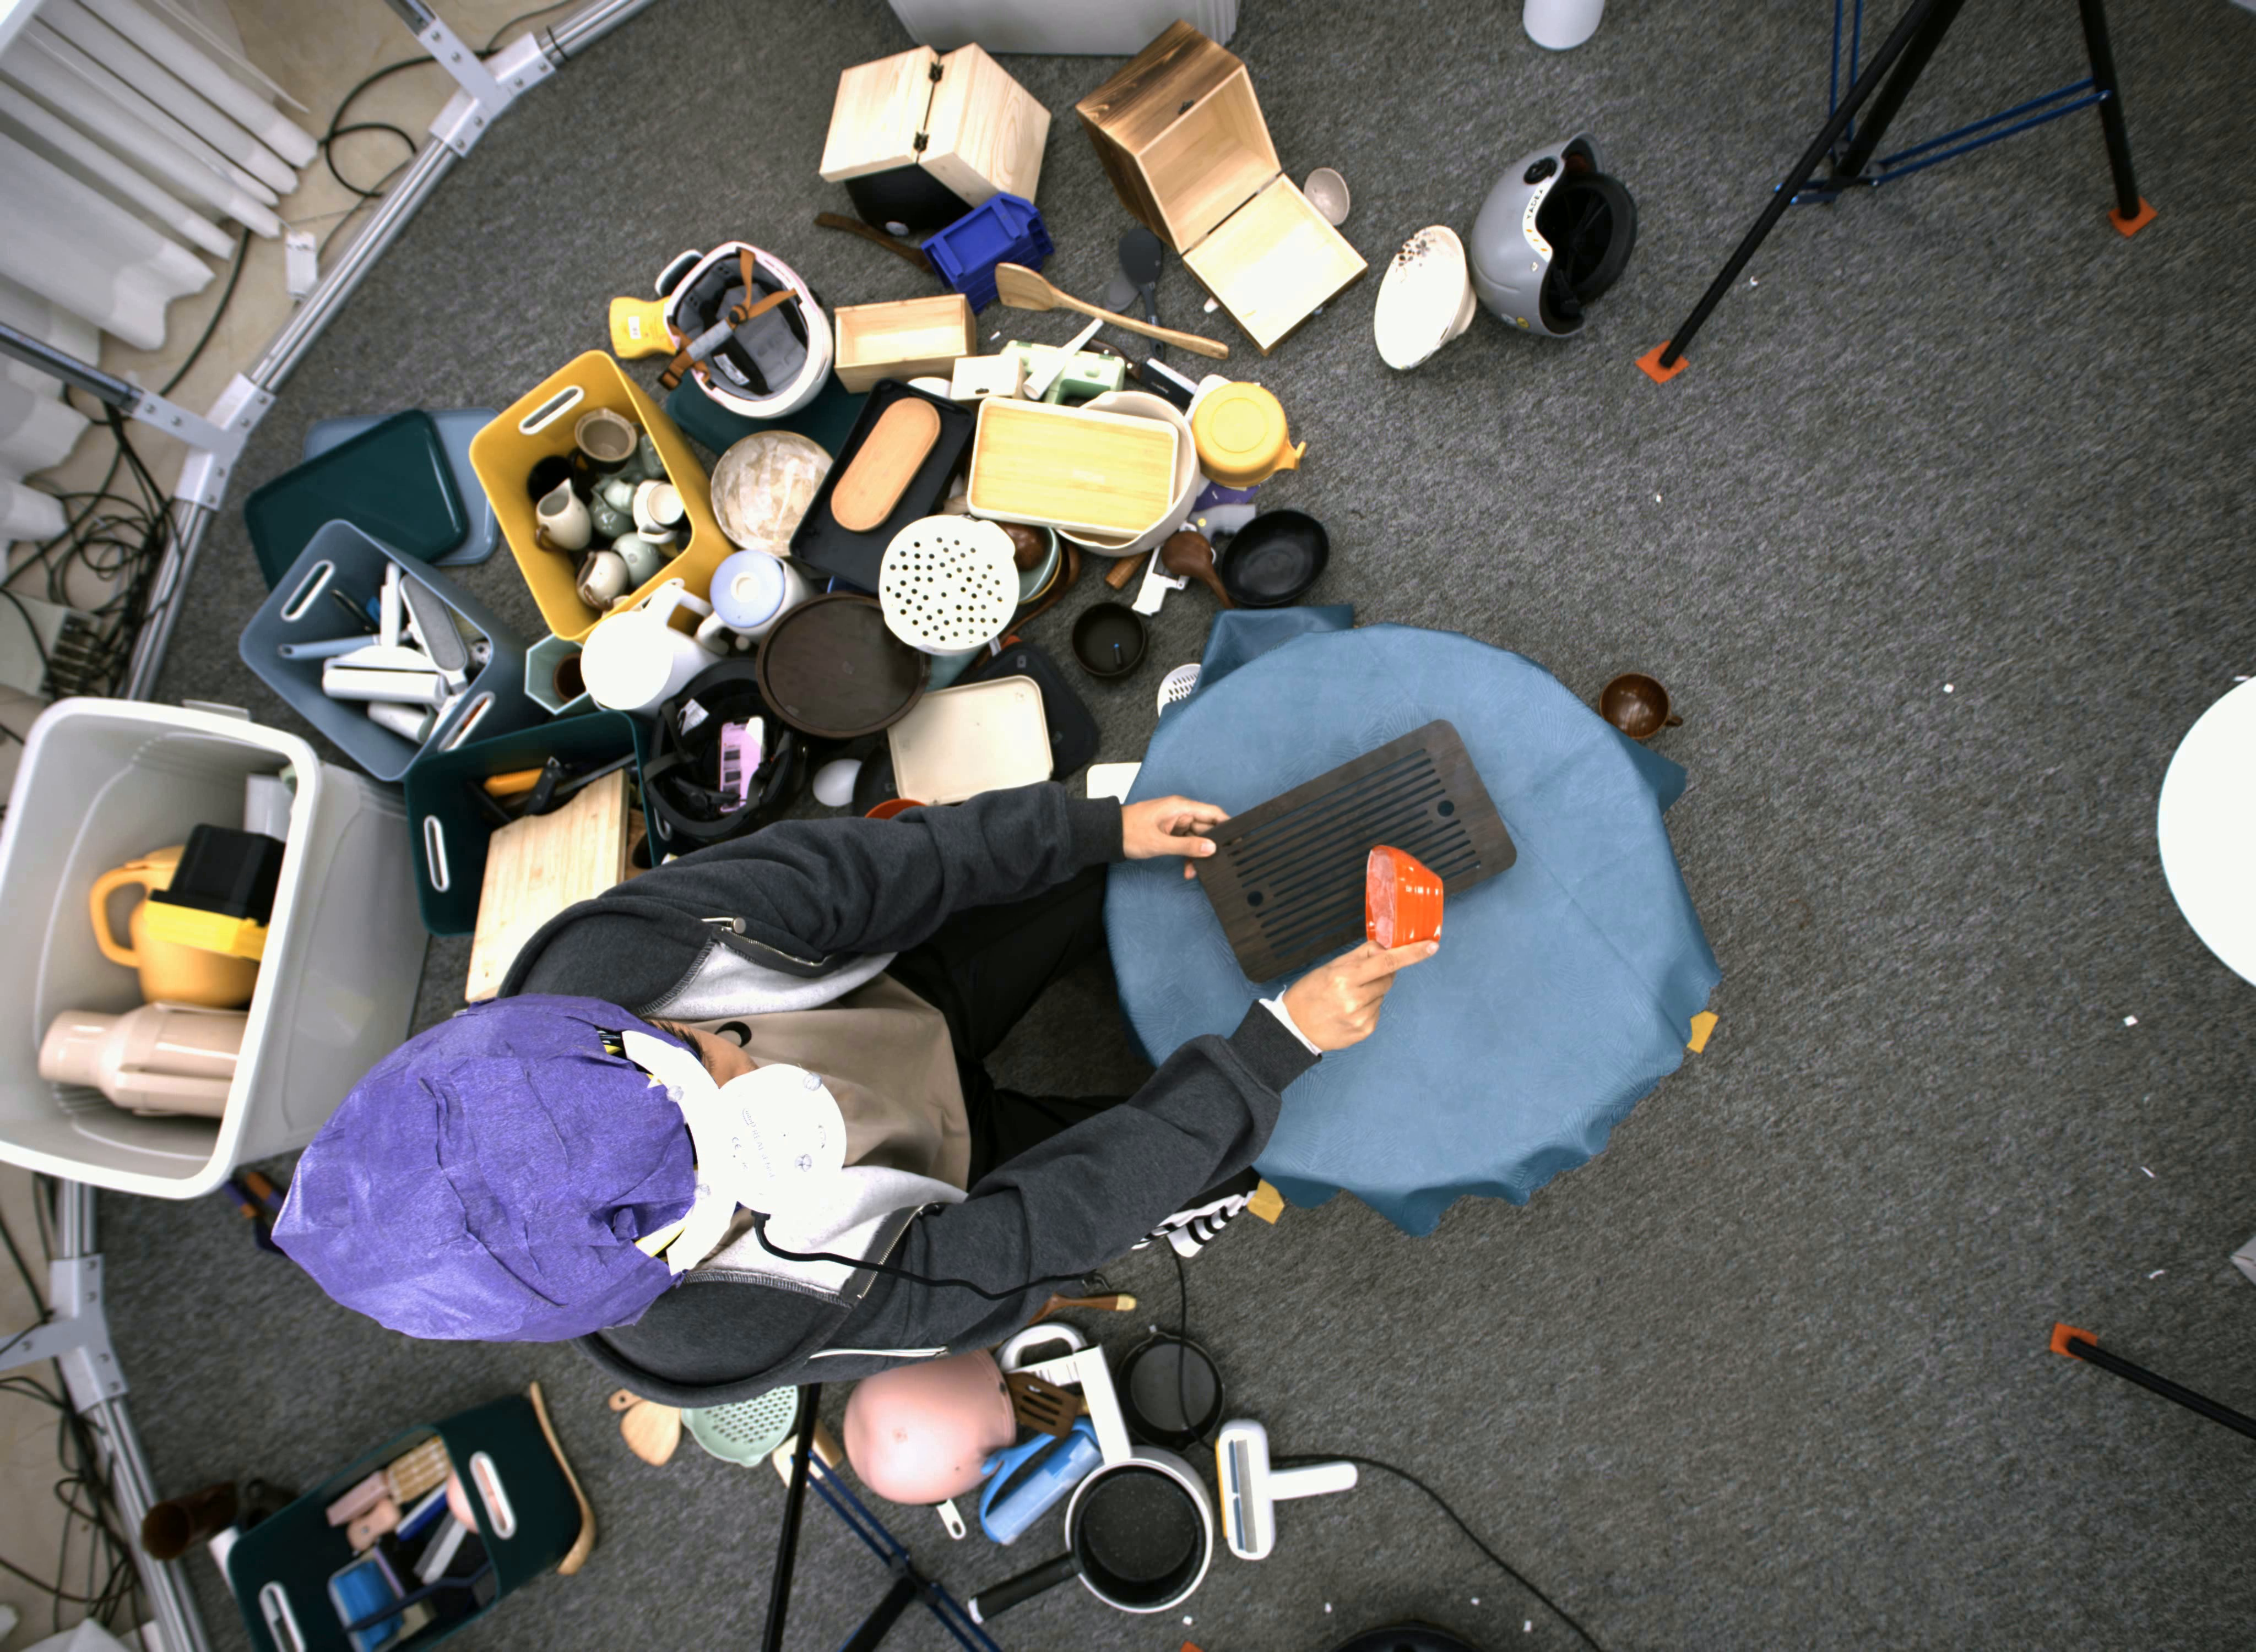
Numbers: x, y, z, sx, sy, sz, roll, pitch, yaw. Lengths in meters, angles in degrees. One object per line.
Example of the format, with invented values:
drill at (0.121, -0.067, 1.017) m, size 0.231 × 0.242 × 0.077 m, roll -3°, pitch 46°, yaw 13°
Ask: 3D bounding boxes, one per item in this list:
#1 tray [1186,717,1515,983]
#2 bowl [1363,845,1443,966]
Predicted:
tray at (0.227, 0.025, 1.428) m, size 0.308 × 0.018 × 0.169 m, roll -26°, pitch 85°, yaw 9°
bowl at (0.254, 0.072, 1.267) m, size 0.051 × 0.119 × 0.118 m, roll 1°, pitch 85°, yaw -6°
